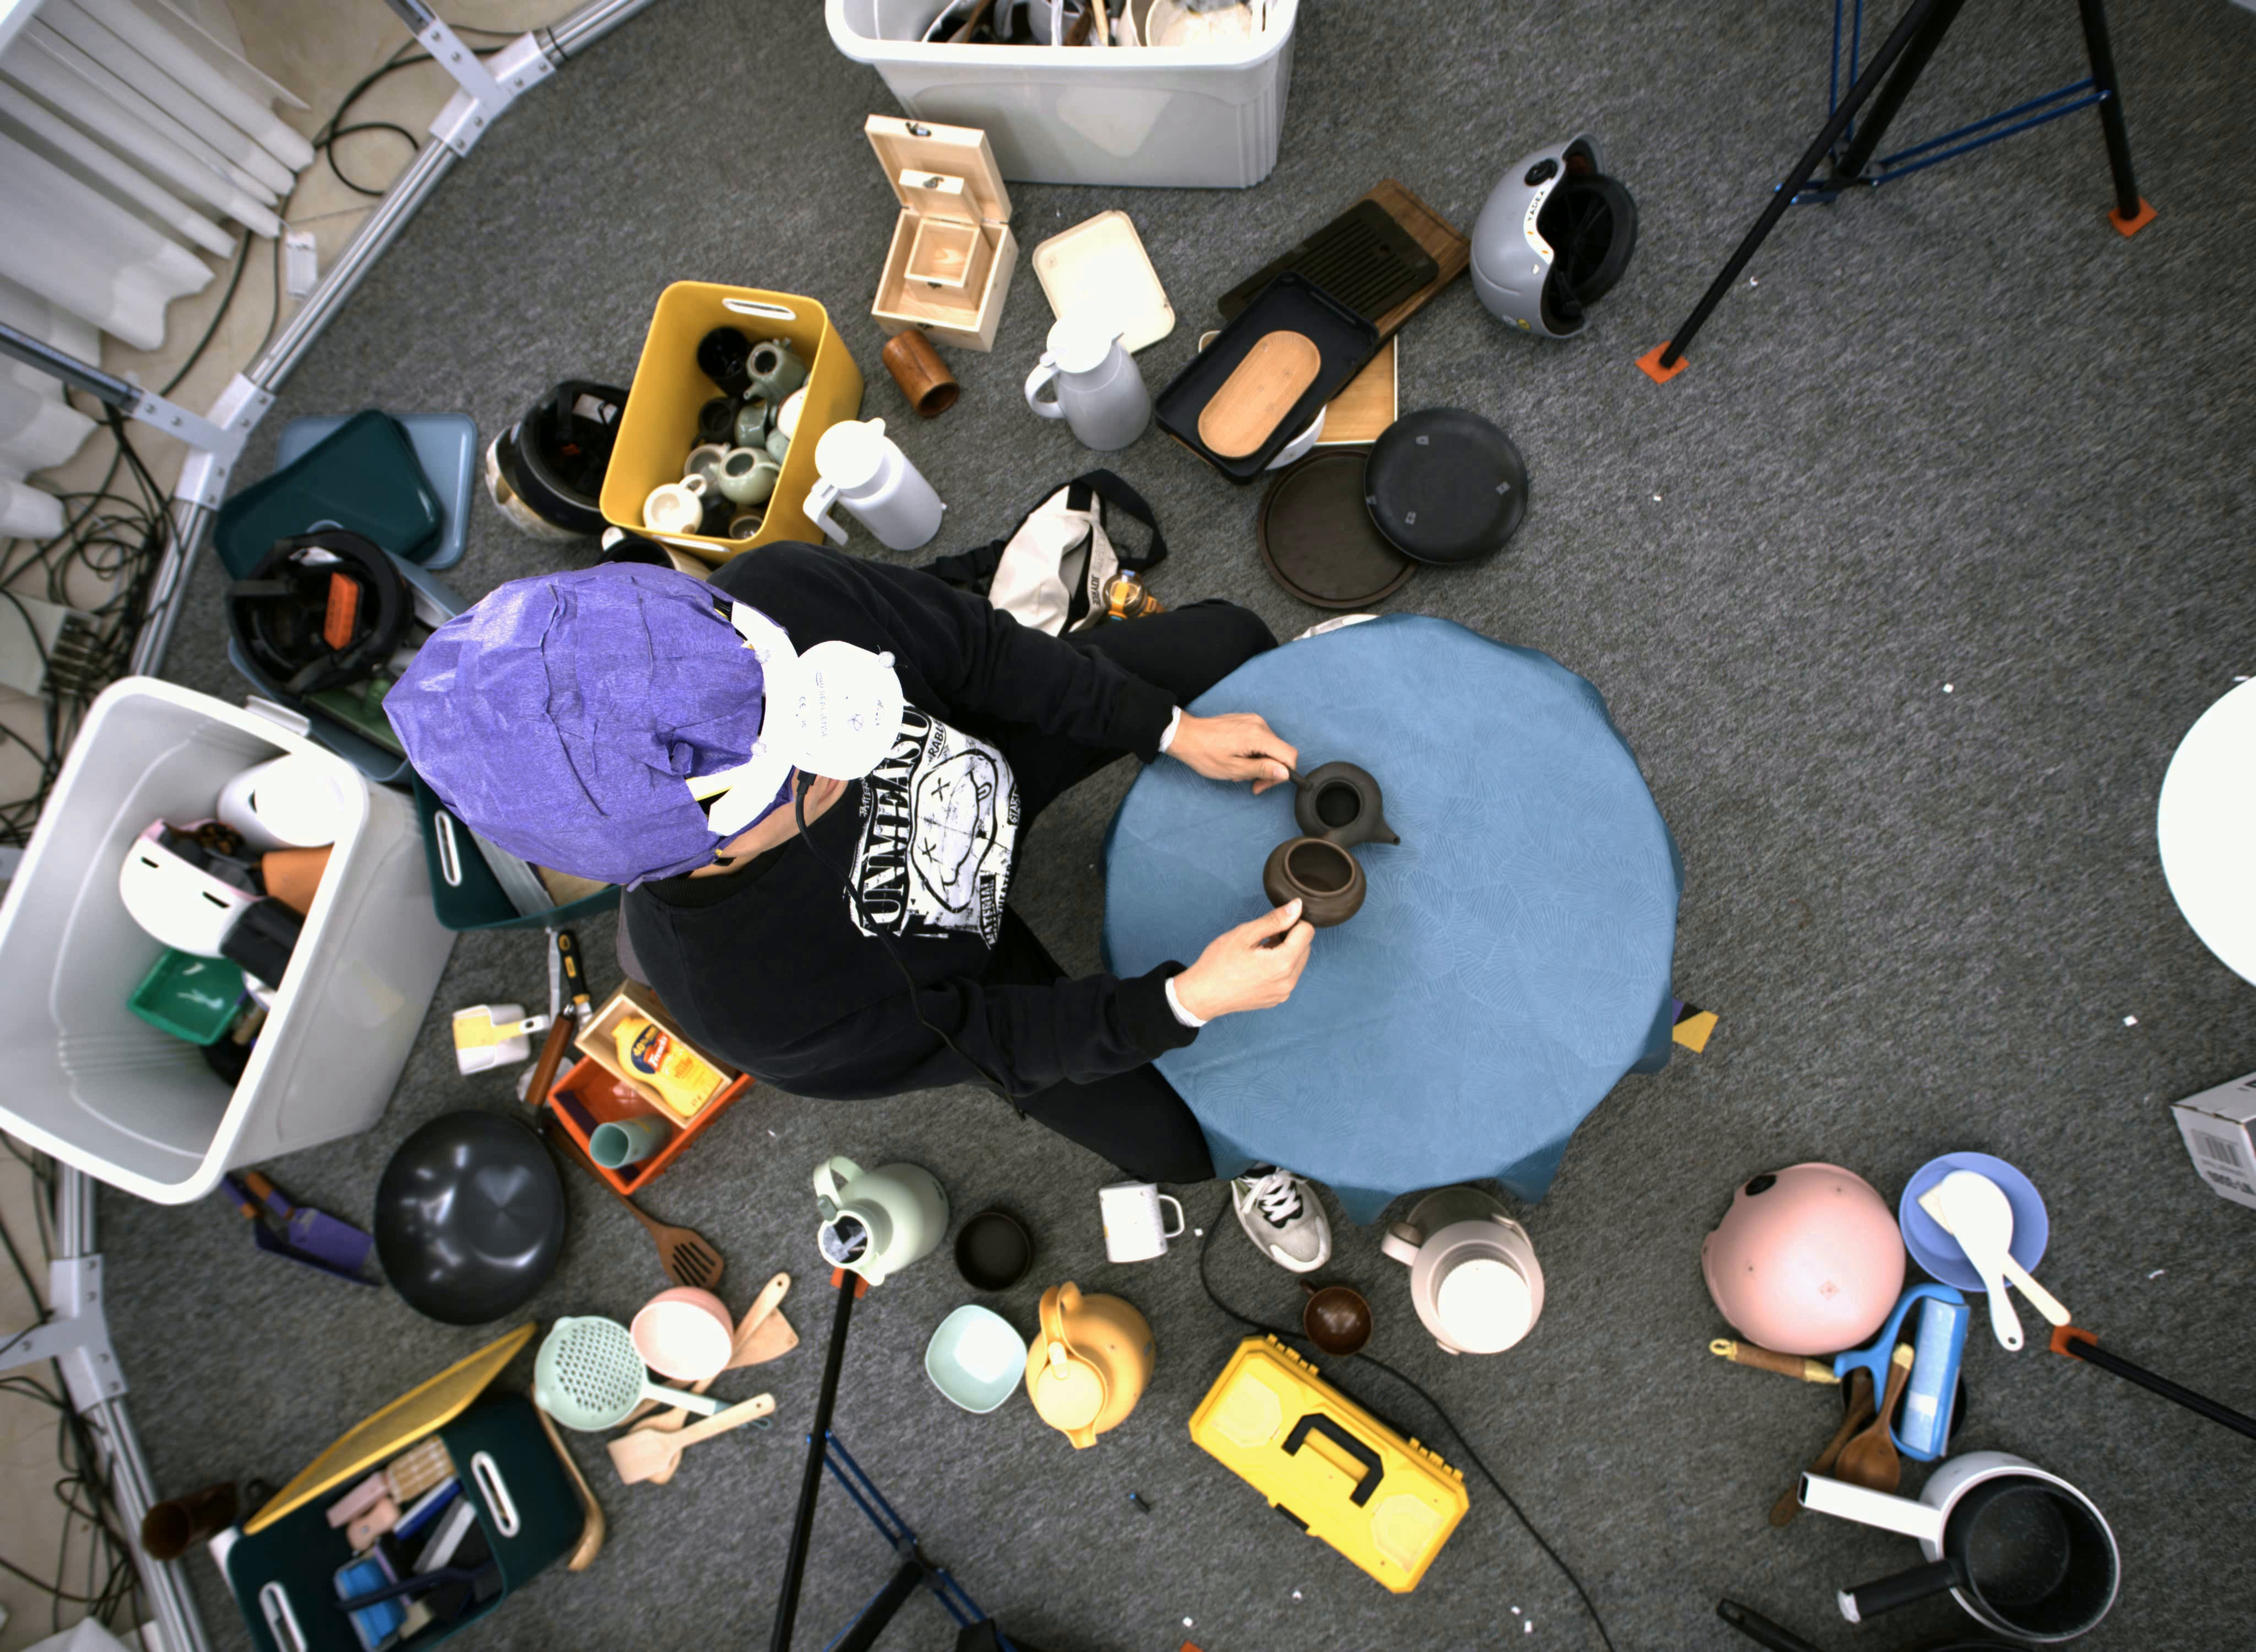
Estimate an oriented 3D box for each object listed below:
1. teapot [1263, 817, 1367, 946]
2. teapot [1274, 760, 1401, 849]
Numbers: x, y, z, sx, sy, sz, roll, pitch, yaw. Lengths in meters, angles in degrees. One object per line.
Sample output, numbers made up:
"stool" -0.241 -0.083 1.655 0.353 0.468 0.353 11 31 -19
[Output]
"teapot" 0.181 0.056 1.349 0.102 0.055 0.149 19 51 11
"teapot" 0.218 -0.024 1.442 0.154 0.064 0.092 34 93 9
